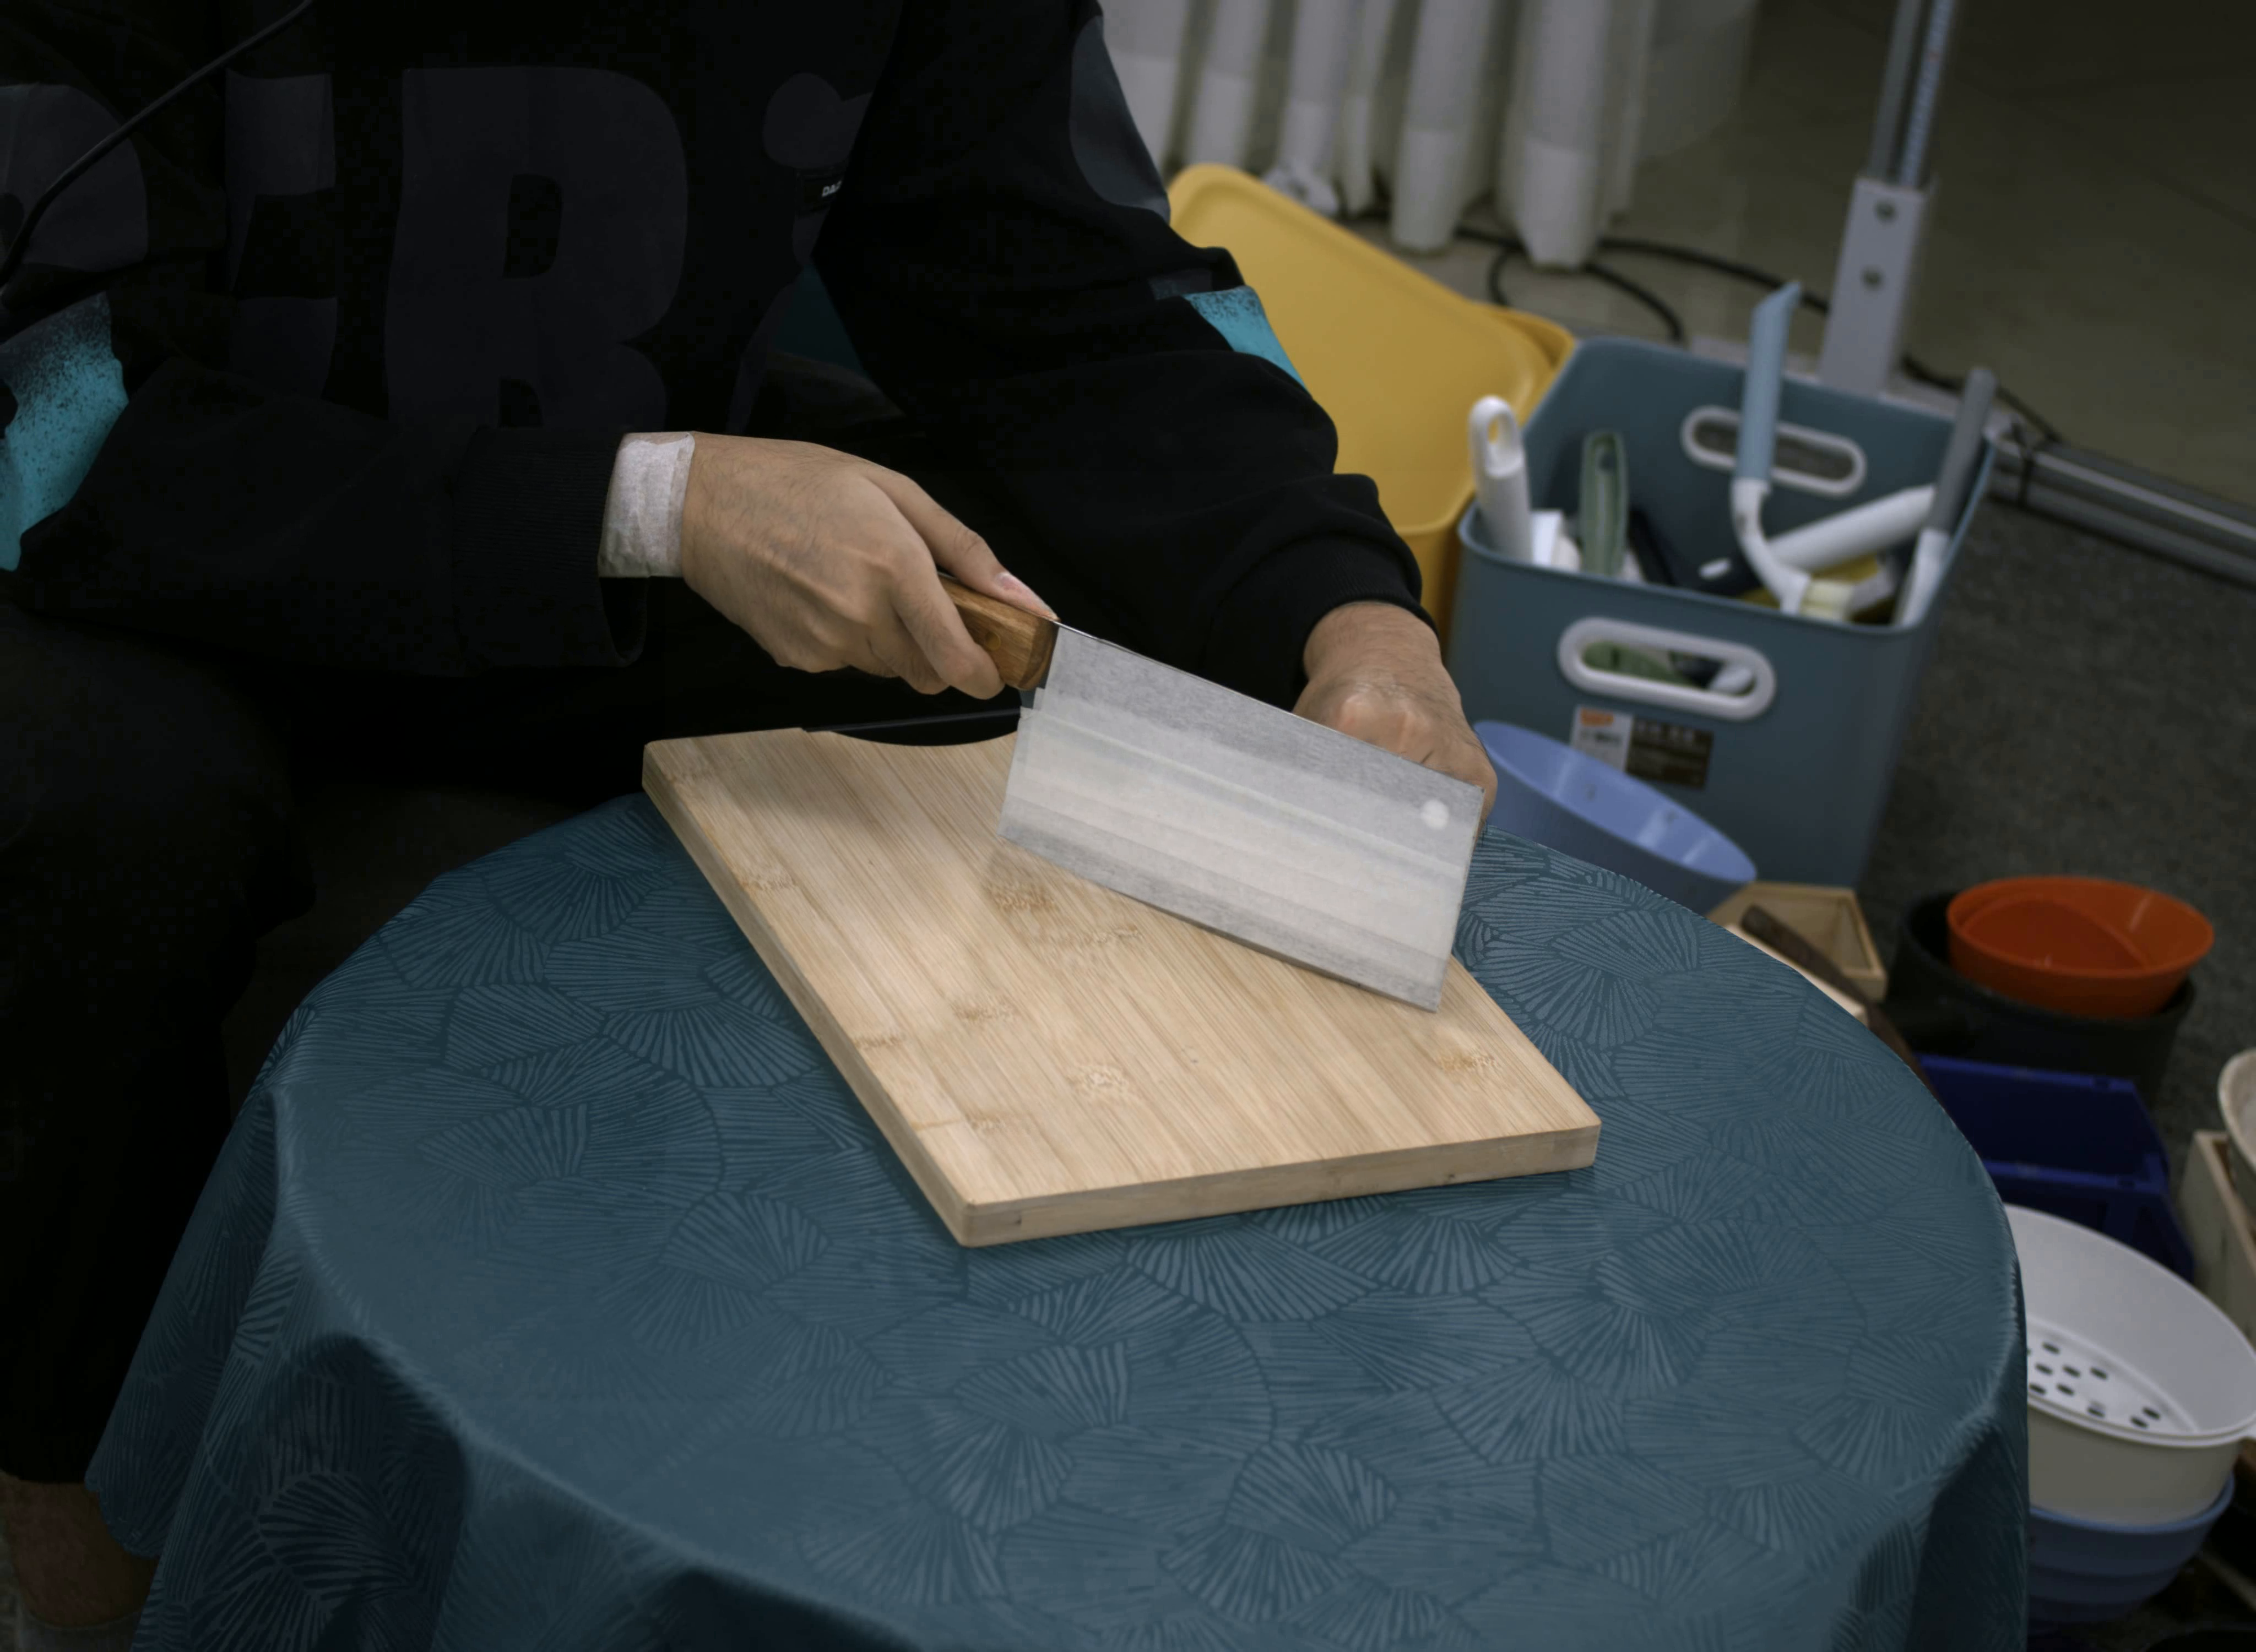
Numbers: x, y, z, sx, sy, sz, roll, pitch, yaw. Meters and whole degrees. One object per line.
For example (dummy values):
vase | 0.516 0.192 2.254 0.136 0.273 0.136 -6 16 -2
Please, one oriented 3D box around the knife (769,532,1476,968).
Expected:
knife | -0.009 -0.025 1.942 0.307 0.093 0.021 22 24 27

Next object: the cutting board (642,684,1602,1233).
cutting board | -0.011 0.042 1.942 0.249 0.023 0.352 -6 30 -23
